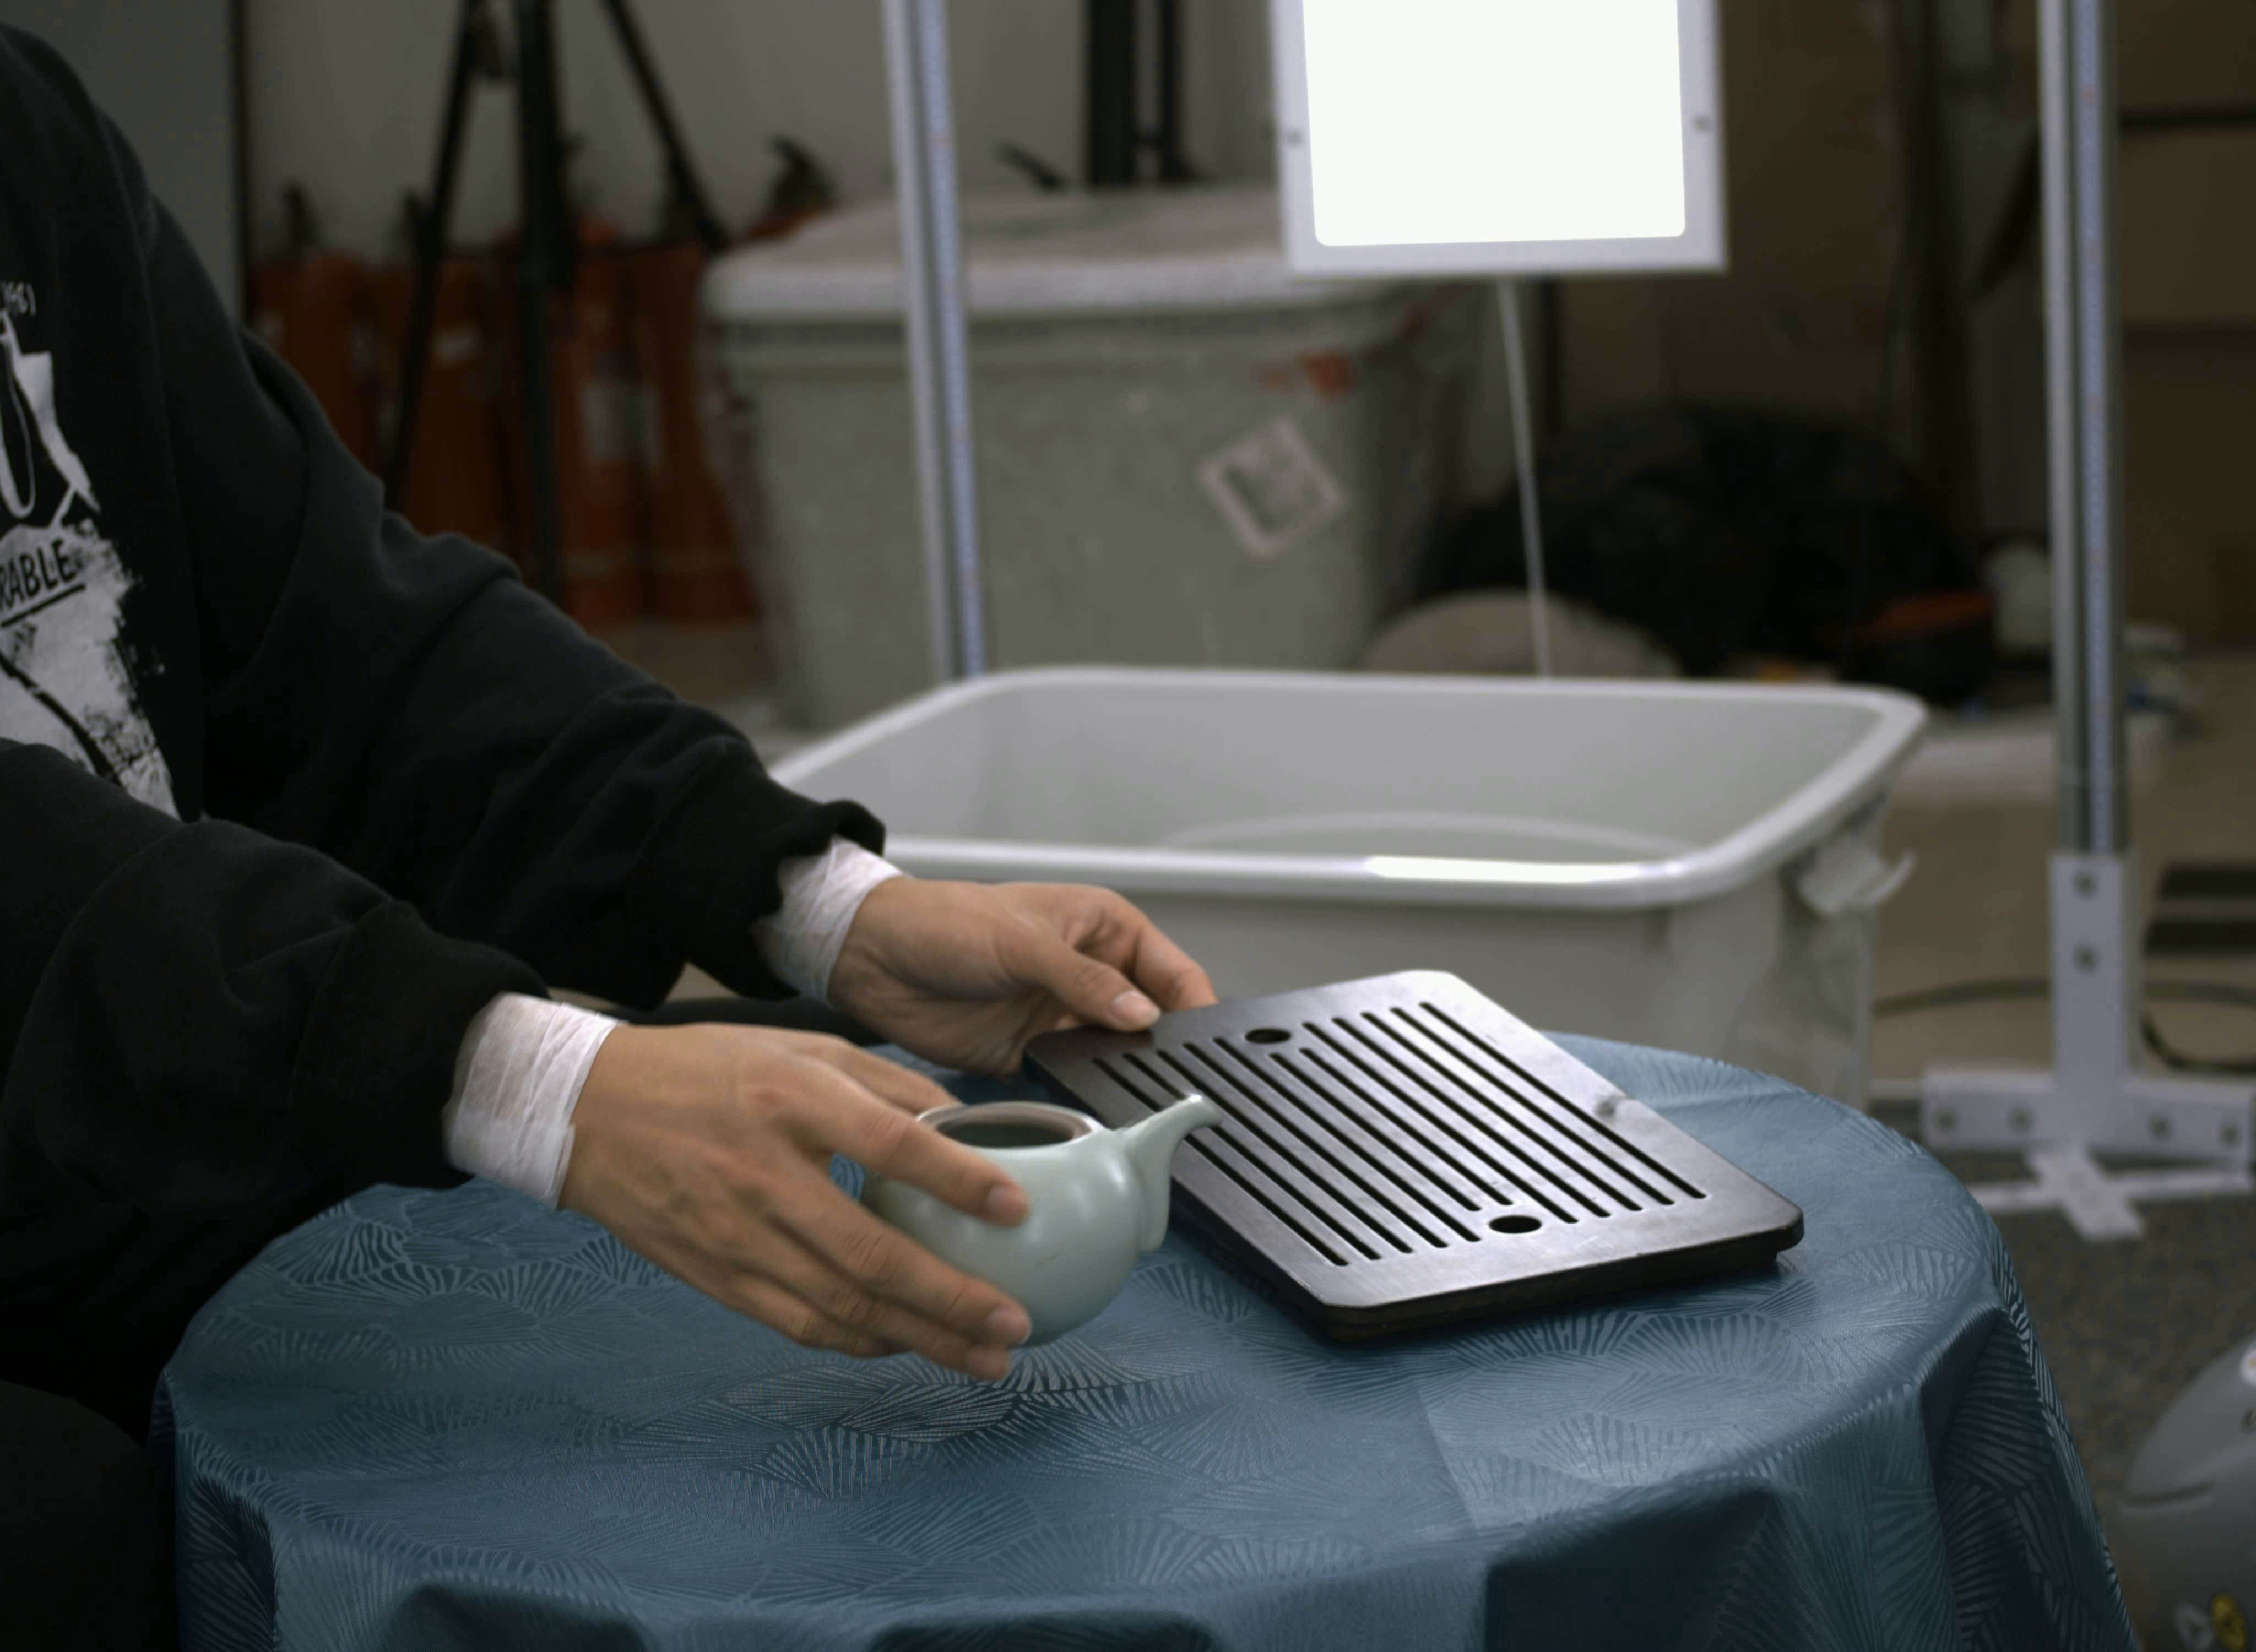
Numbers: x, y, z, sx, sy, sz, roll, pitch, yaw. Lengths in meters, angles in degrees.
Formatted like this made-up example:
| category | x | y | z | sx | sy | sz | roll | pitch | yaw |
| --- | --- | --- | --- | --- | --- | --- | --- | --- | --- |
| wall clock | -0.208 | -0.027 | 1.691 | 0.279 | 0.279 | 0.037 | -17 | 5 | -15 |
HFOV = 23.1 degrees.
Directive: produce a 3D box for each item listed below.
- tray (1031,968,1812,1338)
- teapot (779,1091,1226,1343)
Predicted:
| category | x | y | z | sx | sy | sz | roll | pitch | yaw |
| --- | --- | --- | --- | --- | --- | --- | --- | --- | --- |
| tray | 0.093 | 0.108 | 1.874 | 0.167 | 0.019 | 0.309 | -10 | 17 | -18 |
| teapot | -0.039 | 0.118 | 1.697 | 0.141 | 0.075 | 0.089 | 1 | 12 | -17 |
